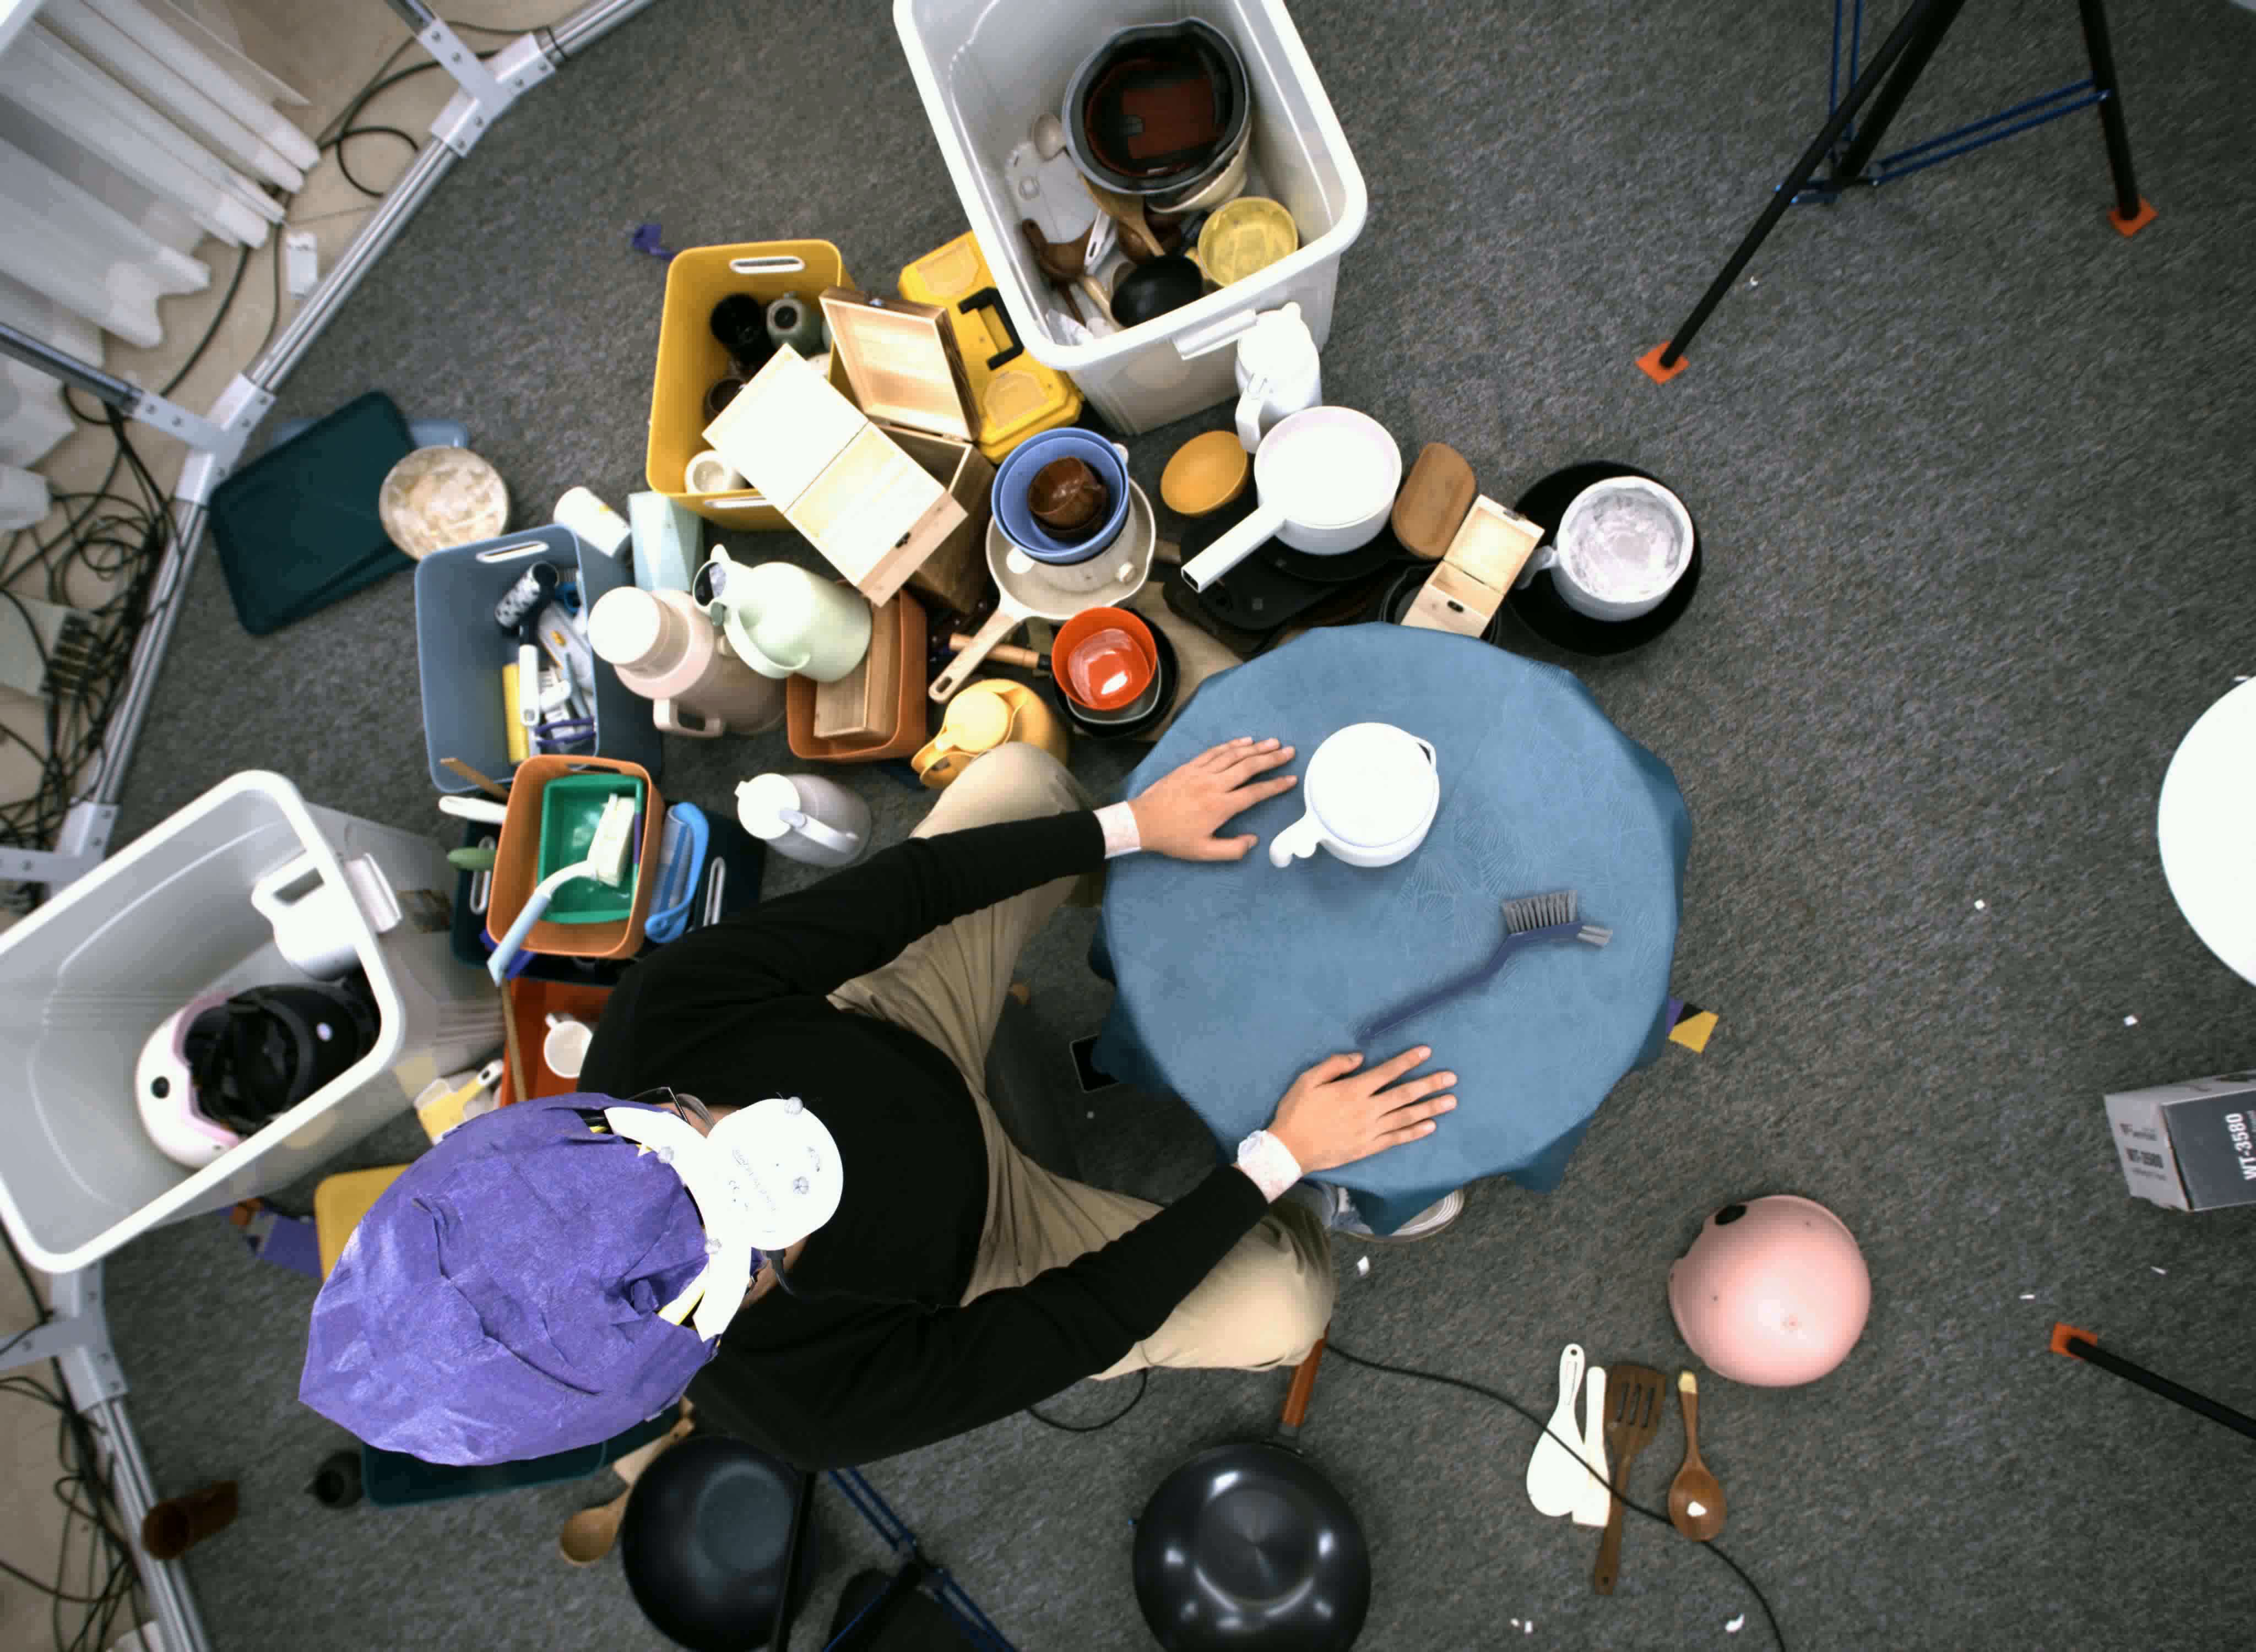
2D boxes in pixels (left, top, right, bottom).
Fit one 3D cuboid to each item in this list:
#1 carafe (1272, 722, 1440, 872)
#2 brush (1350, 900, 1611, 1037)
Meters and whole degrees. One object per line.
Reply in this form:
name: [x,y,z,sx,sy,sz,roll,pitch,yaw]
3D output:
carafe: [0.223,-0.017,1.387,0.192,0.182,0.131,-35,80,7]
brush: [0.359,0.162,1.423,0.274,0.033,0.095,-35,84,6]
